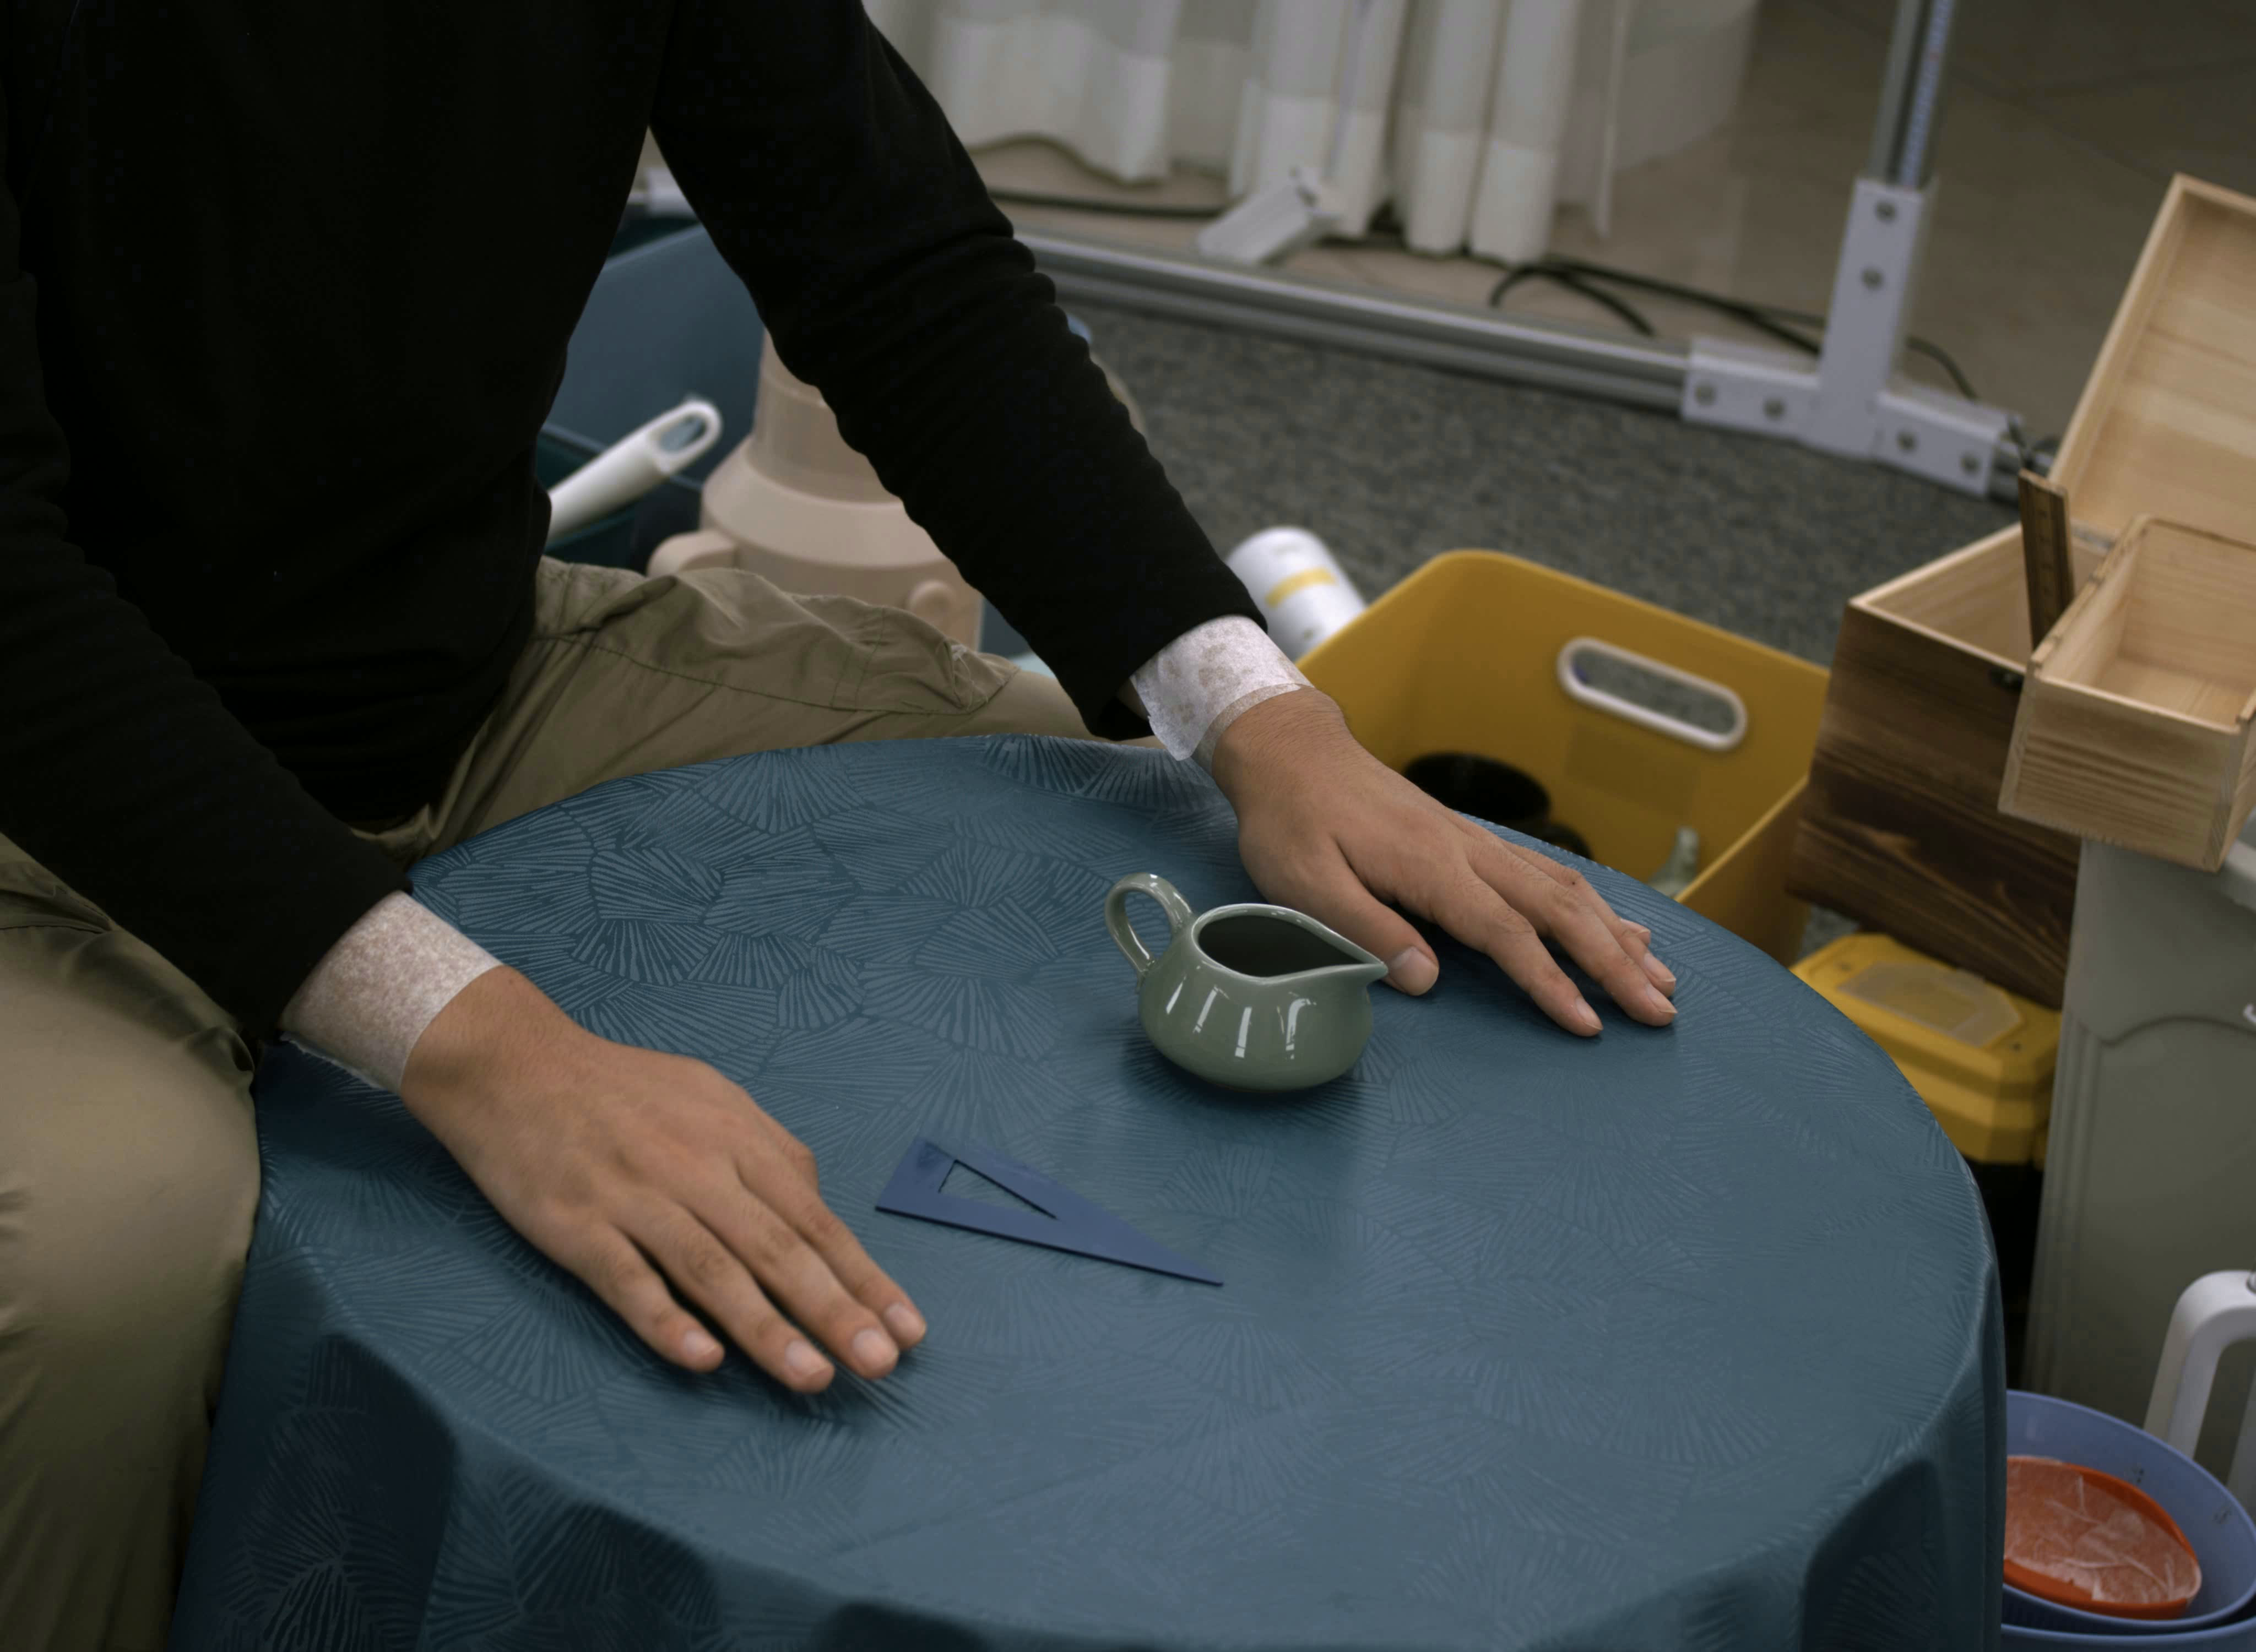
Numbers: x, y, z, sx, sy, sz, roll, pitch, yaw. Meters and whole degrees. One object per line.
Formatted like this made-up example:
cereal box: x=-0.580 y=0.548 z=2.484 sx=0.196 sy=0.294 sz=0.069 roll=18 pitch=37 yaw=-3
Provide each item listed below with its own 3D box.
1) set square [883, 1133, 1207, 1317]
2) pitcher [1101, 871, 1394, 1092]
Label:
set square: x=-0.035 y=0.137 z=1.764 sx=0.061 sy=0.006 sz=0.133 roll=-17 pitch=35 yaw=-40
pitcher: x=0.040 y=0.055 z=1.883 sx=0.113 sy=0.056 sz=0.084 roll=19 pitch=27 yaw=23
